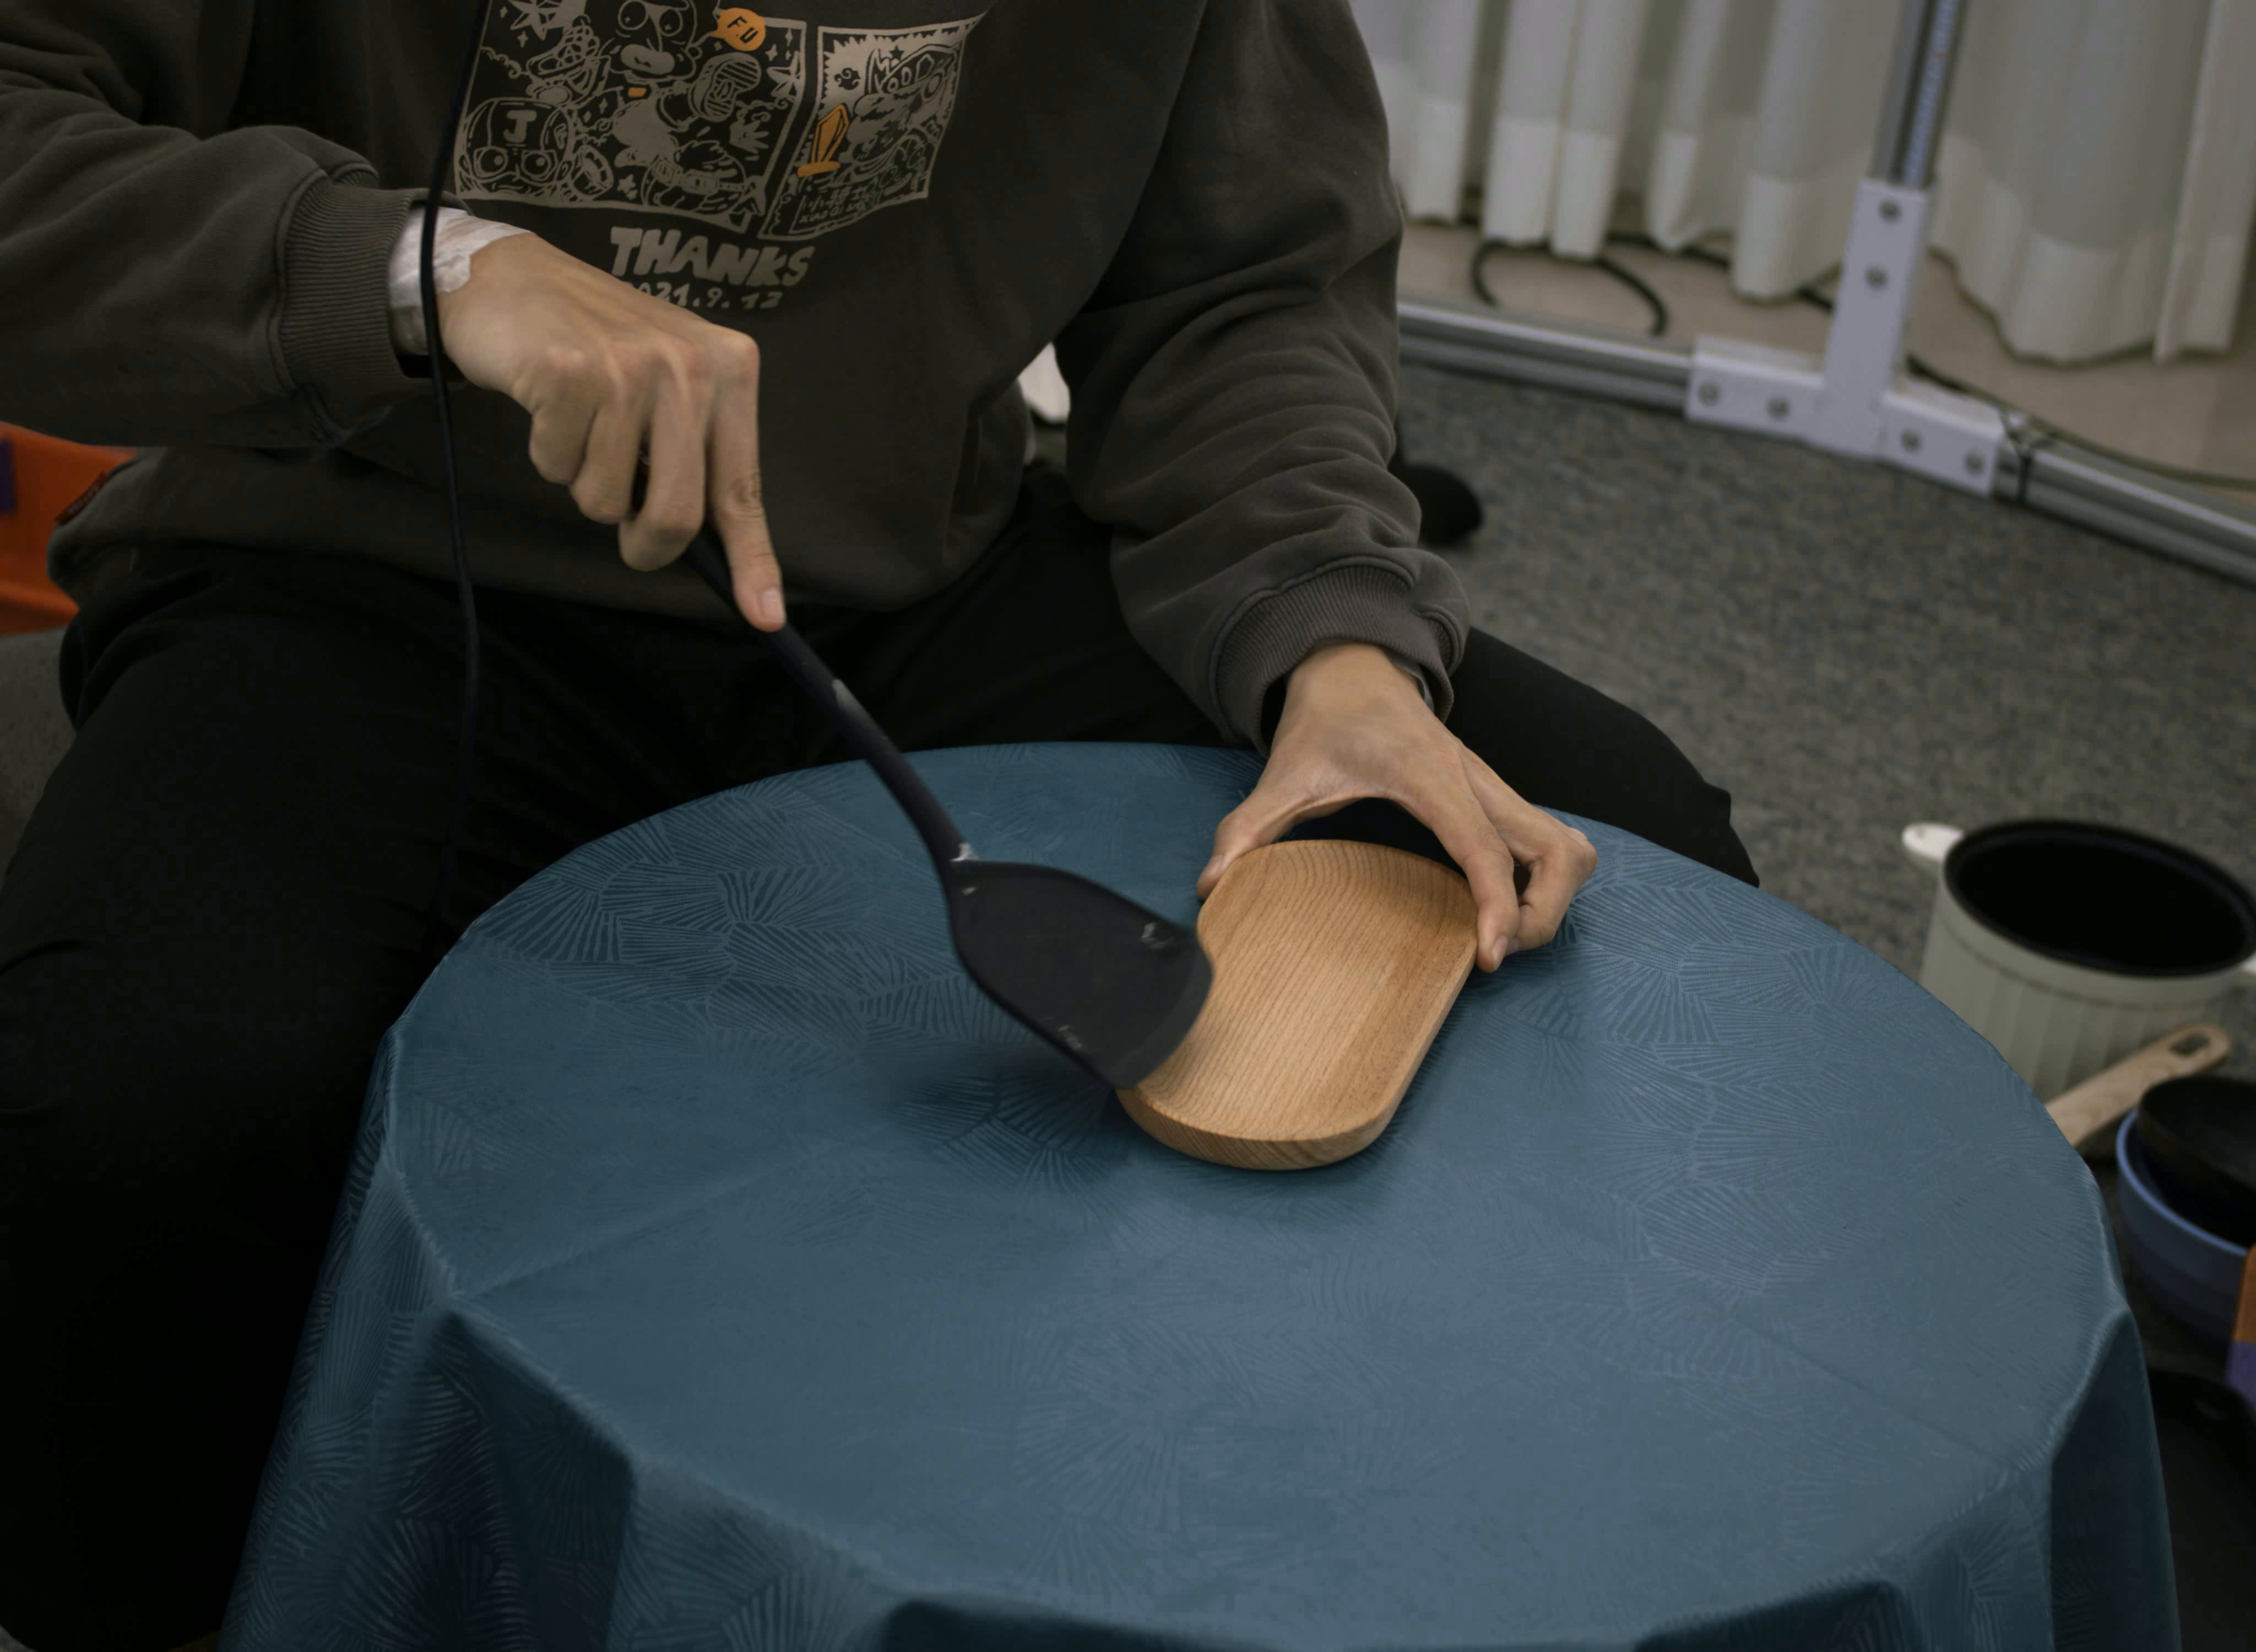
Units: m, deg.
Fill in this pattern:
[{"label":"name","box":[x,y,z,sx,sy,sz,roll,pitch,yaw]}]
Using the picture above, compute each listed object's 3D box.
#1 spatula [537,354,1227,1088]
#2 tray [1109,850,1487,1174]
[{"label":"spatula","box":[-0.090,-0.043,1.843,0.325,0.040,0.100,51,33,-7]},{"label":"tray","box":[0.063,0.065,1.916,0.102,0.020,0.231,12,29,14]}]
